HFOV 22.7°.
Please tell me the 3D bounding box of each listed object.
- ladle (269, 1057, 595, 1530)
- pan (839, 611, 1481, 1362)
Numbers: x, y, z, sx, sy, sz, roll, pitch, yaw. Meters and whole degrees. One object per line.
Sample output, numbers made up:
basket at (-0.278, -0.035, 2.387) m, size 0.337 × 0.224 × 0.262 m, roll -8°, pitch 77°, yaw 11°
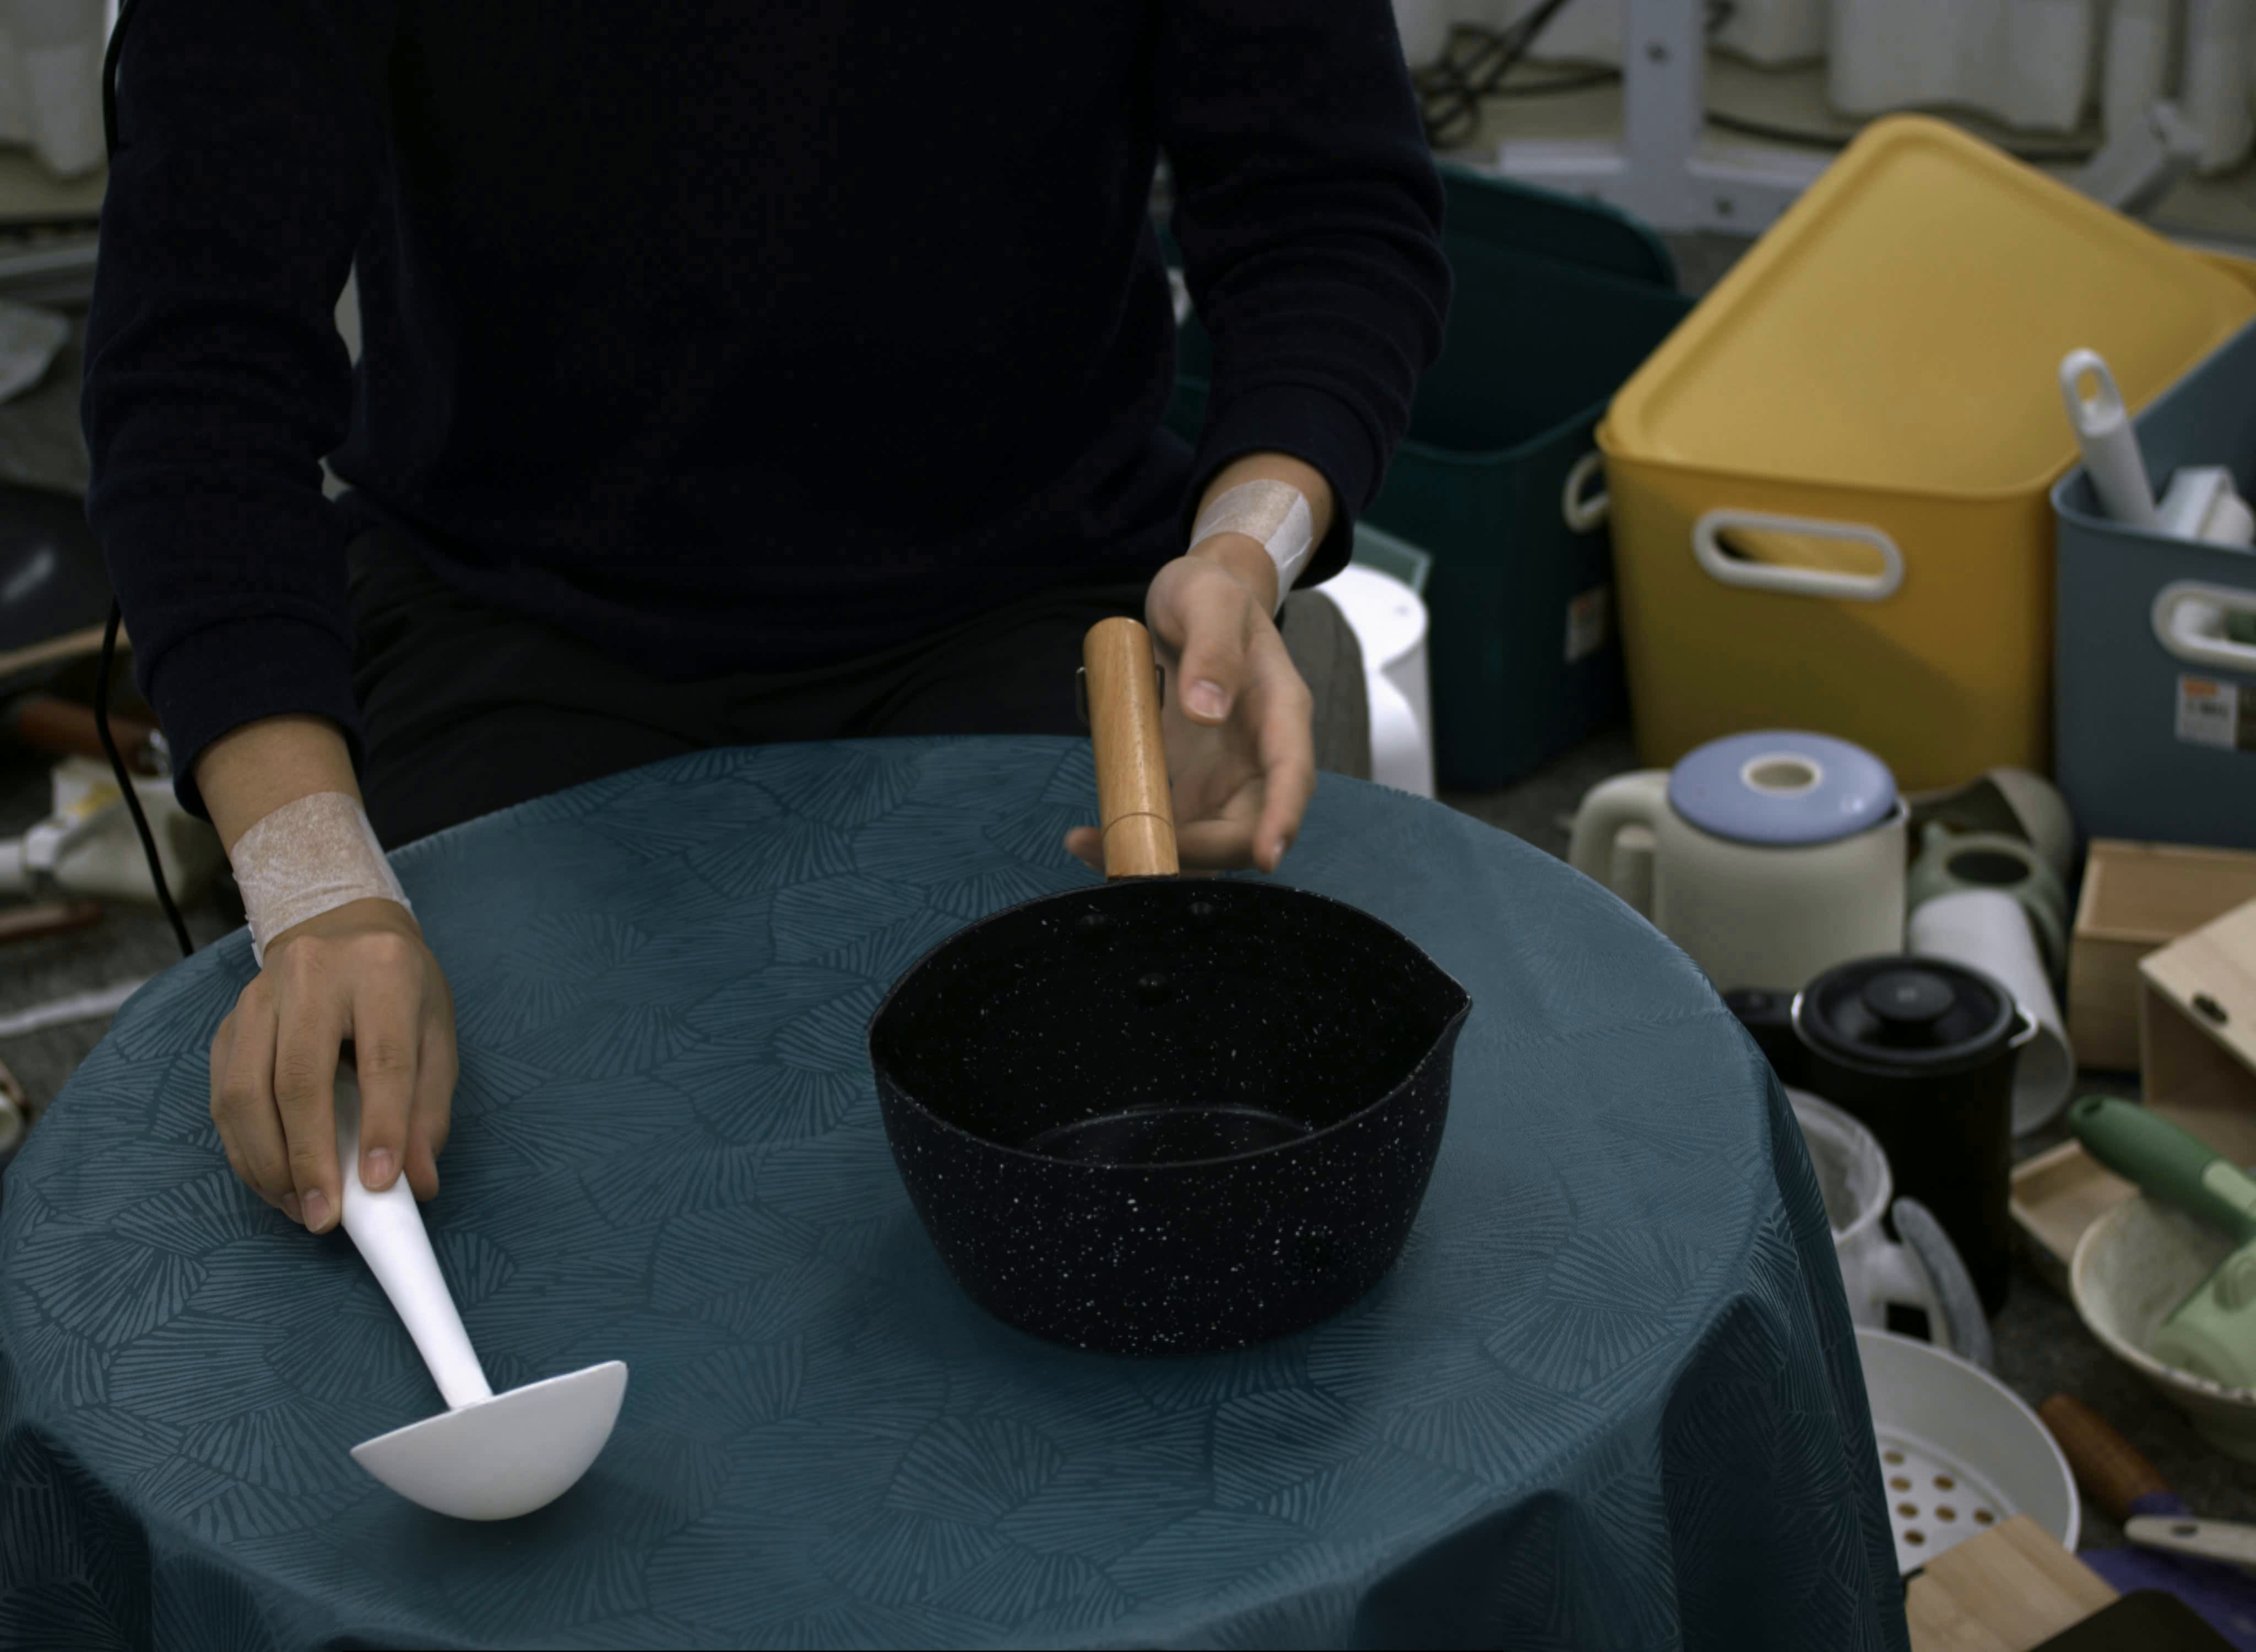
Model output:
ladle at (-0.236, 0.138, 1.789) m, size 0.090 × 0.069 × 0.295 m, roll -23°, pitch 30°, yaw -9°
pan at (0.006, 0.050, 1.884) m, size 0.207 × 0.107 × 0.348 m, roll -5°, pitch 29°, yaw -2°
